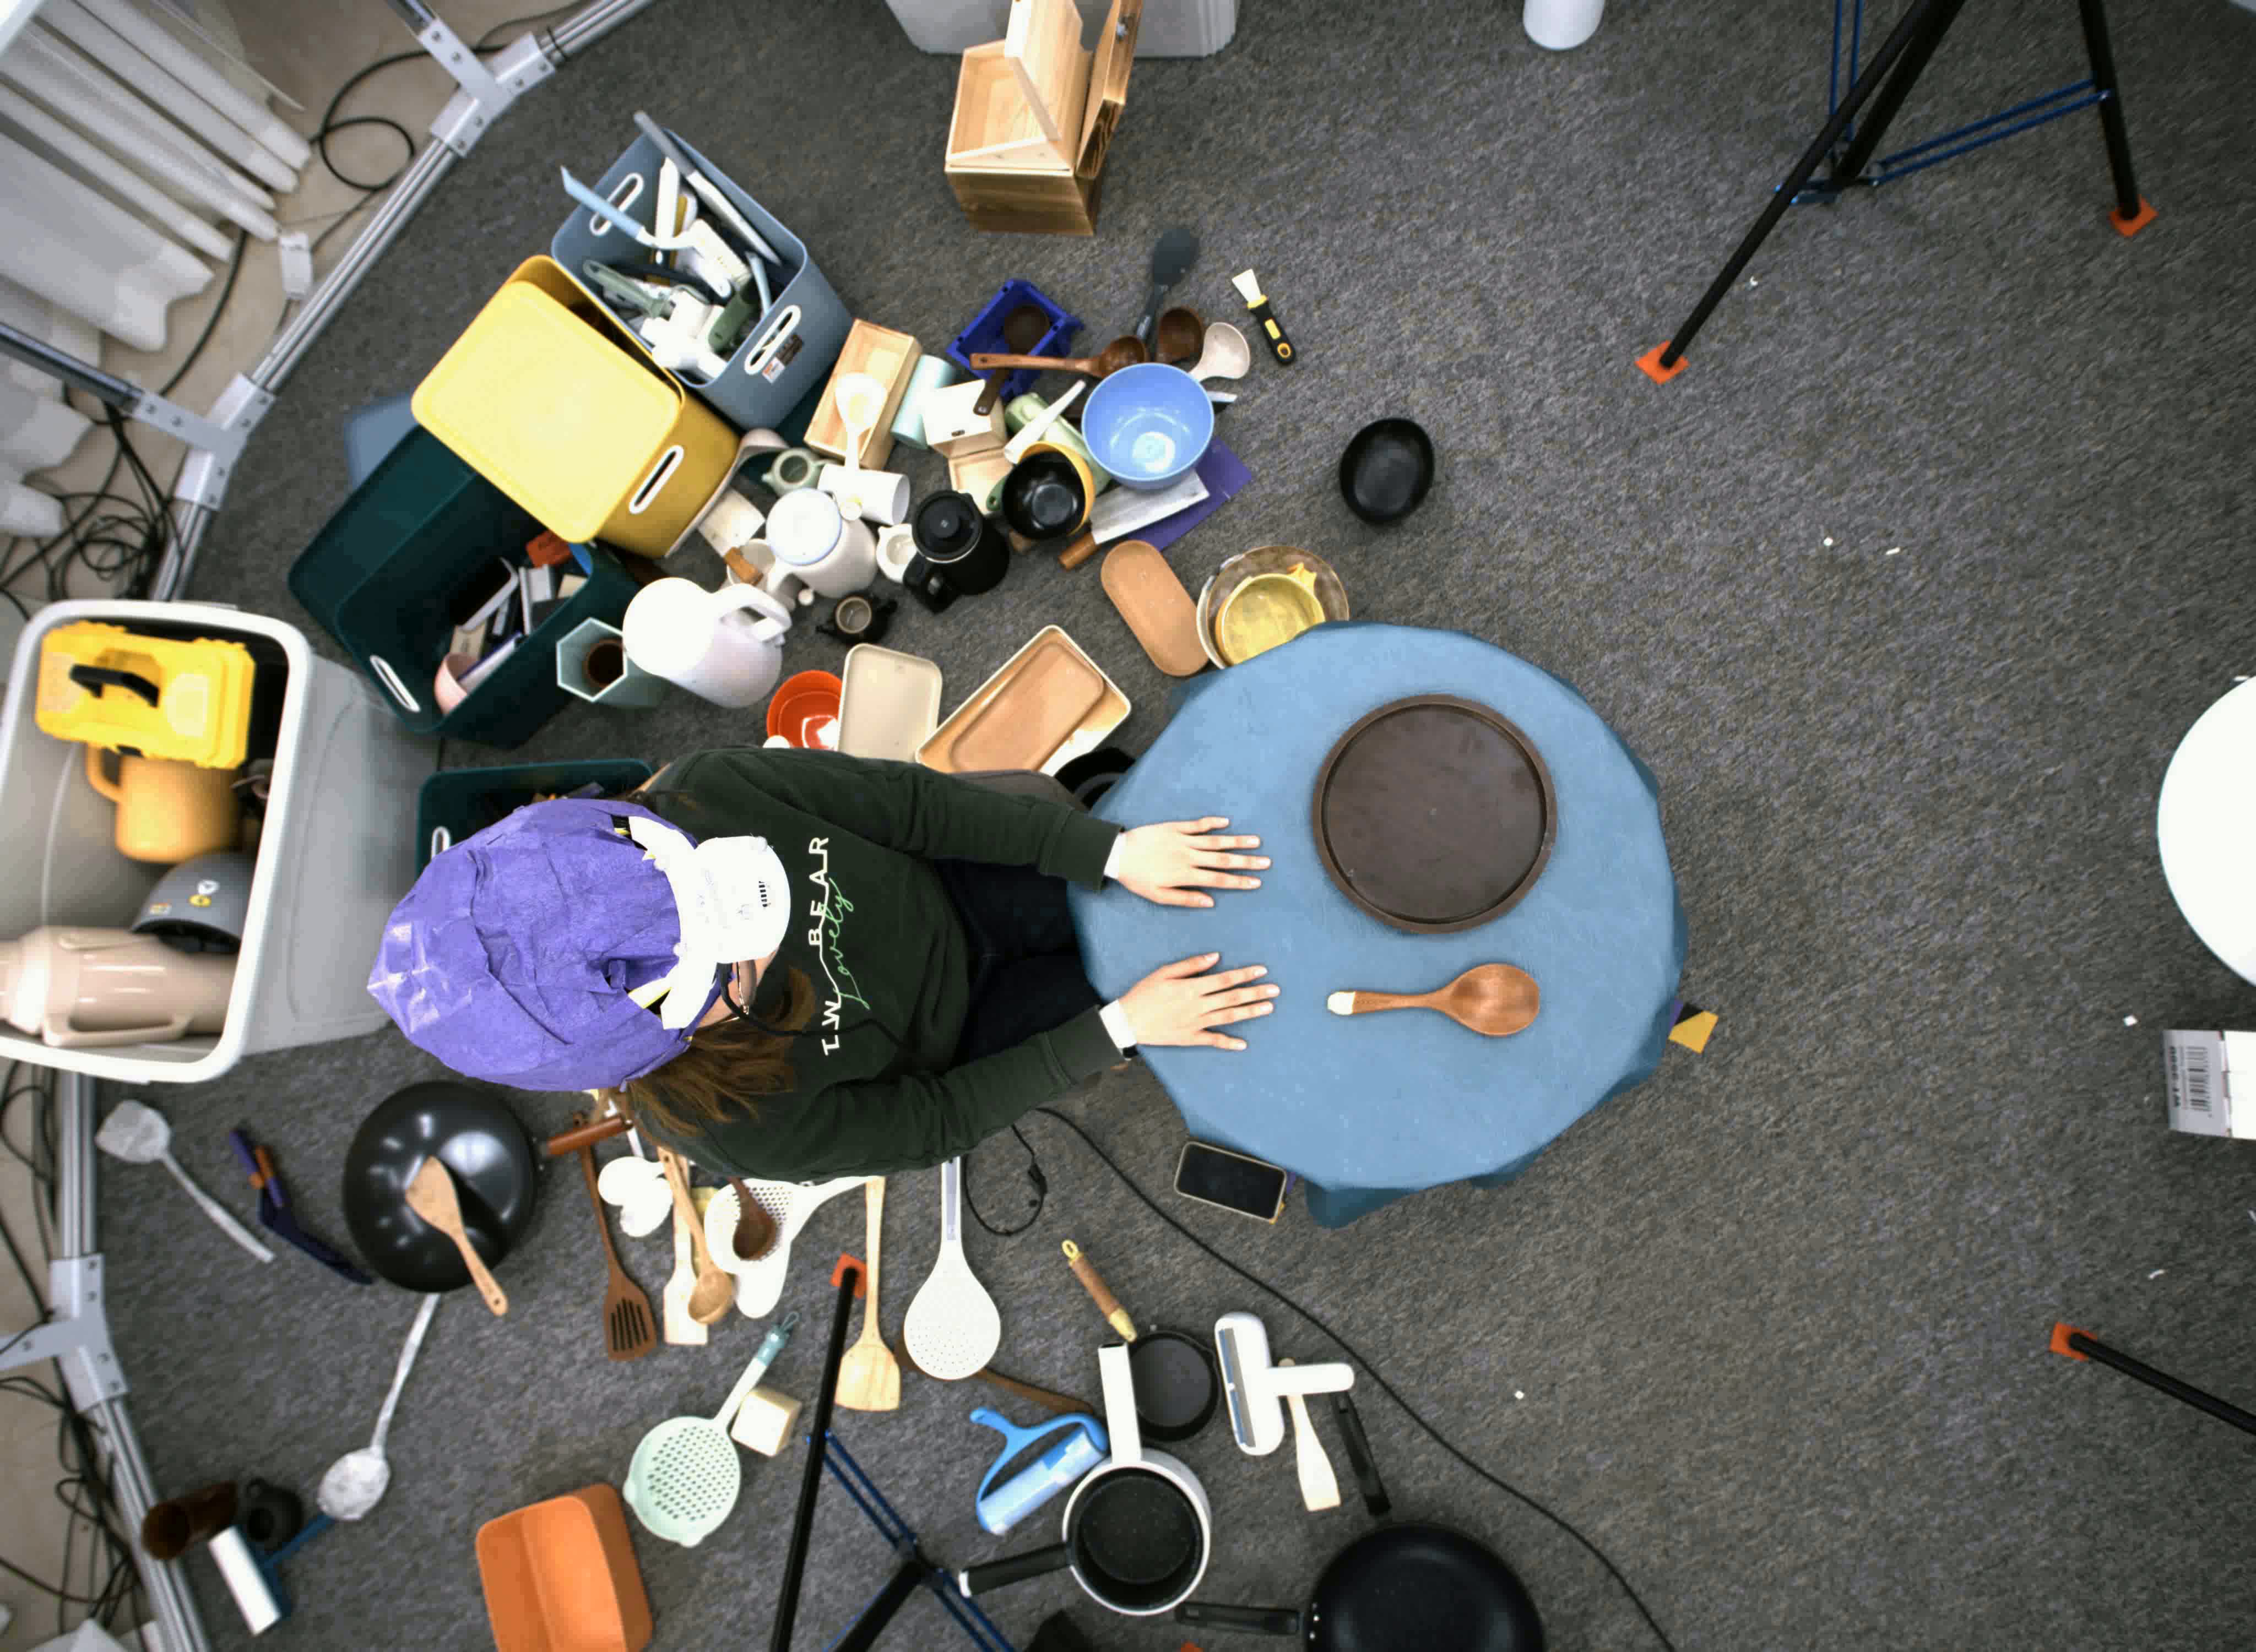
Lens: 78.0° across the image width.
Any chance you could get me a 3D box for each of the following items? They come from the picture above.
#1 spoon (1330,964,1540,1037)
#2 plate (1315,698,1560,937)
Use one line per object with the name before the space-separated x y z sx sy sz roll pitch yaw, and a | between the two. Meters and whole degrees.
spoon | 0.319 0.182 1.439 0.217 0.017 0.075 -3 86 10
plate | 0.323 -0.011 1.450 0.256 0.029 0.253 -1 85 9
